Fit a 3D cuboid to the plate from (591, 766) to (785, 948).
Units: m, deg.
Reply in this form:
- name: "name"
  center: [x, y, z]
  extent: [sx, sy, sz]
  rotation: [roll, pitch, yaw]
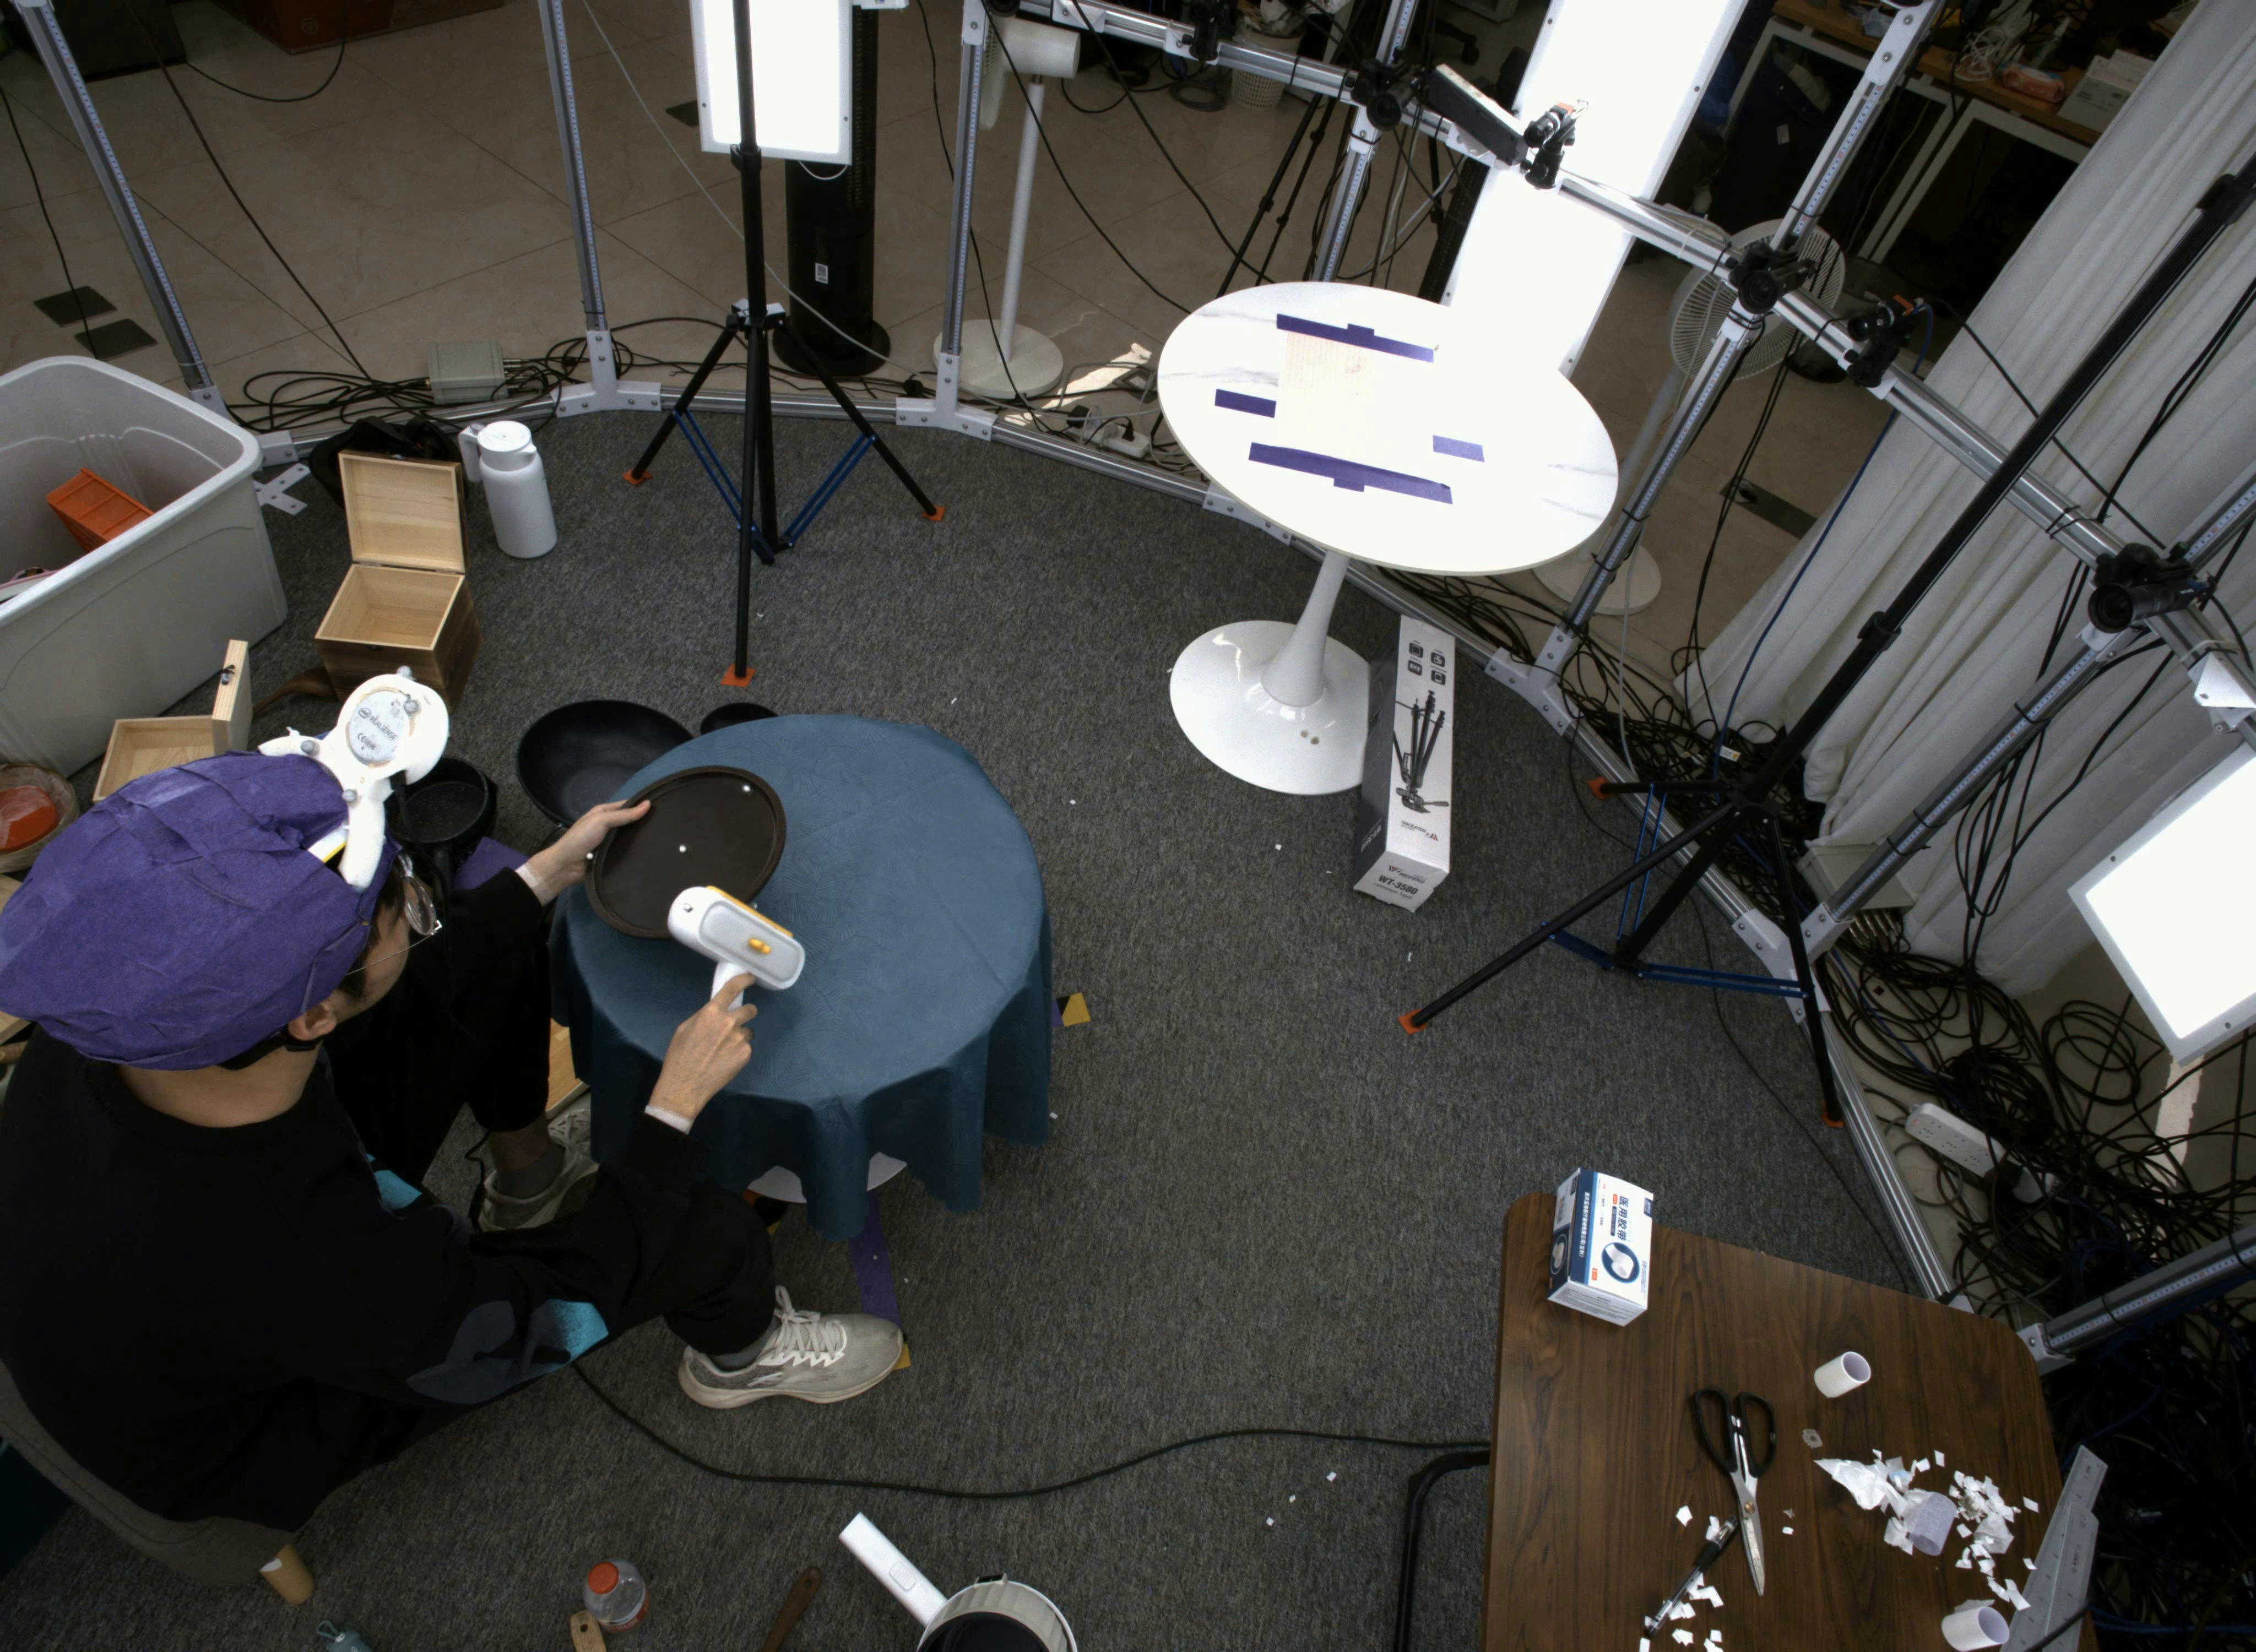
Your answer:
- name: "plate"
  center: [-0.529, 0.033, 1.547]
  extent: [0.250, 0.030, 0.251]
  rotation: [-4, 57, 8]

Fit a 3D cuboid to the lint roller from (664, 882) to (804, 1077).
- name: "lint roller"
  center: [-0.447, 0.178, 1.444]
  extent: [0.072, 0.199, 0.192]
  rotation: [4, 71, 24]
